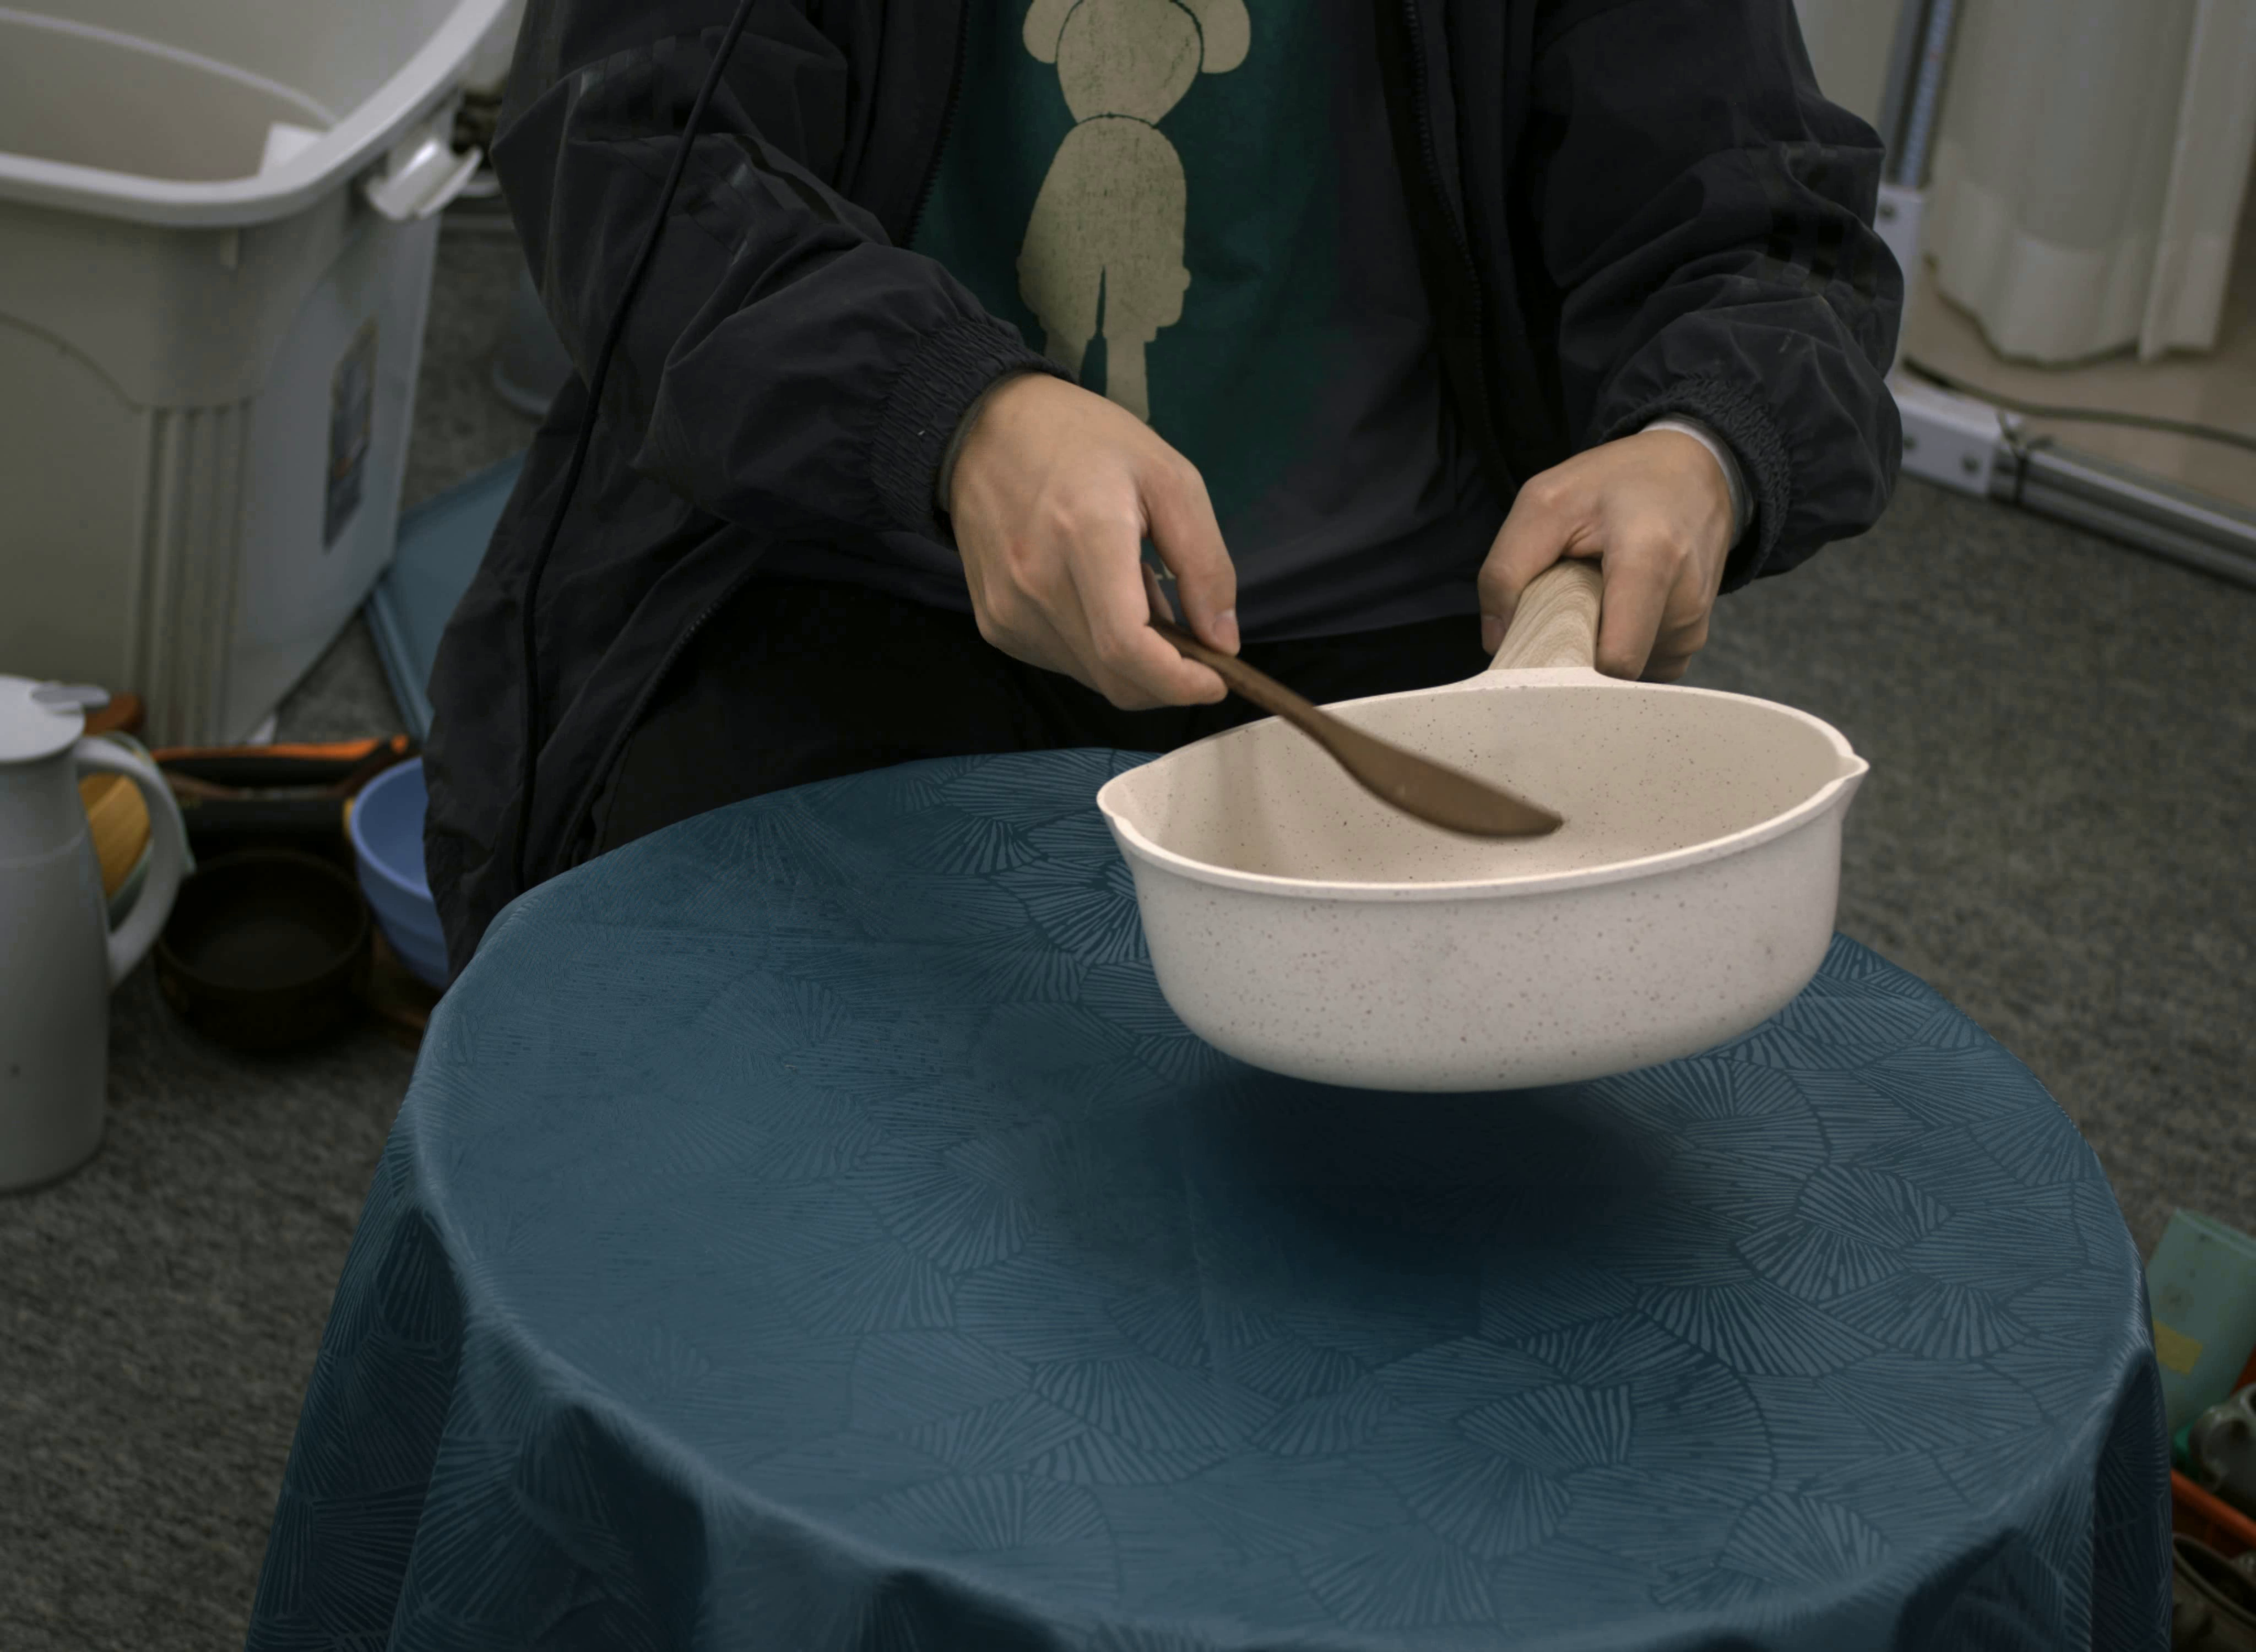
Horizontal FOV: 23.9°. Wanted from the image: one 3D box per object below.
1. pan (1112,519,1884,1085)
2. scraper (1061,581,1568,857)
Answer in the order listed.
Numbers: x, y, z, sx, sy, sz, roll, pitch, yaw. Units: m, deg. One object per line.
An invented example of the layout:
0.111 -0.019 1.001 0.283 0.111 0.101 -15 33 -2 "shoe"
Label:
0.145 -0.012 1.892 0.263 0.102 0.435 -3 15 13 "pan"
0.059 -0.037 1.868 0.213 0.011 0.075 32 17 28 "scraper"
